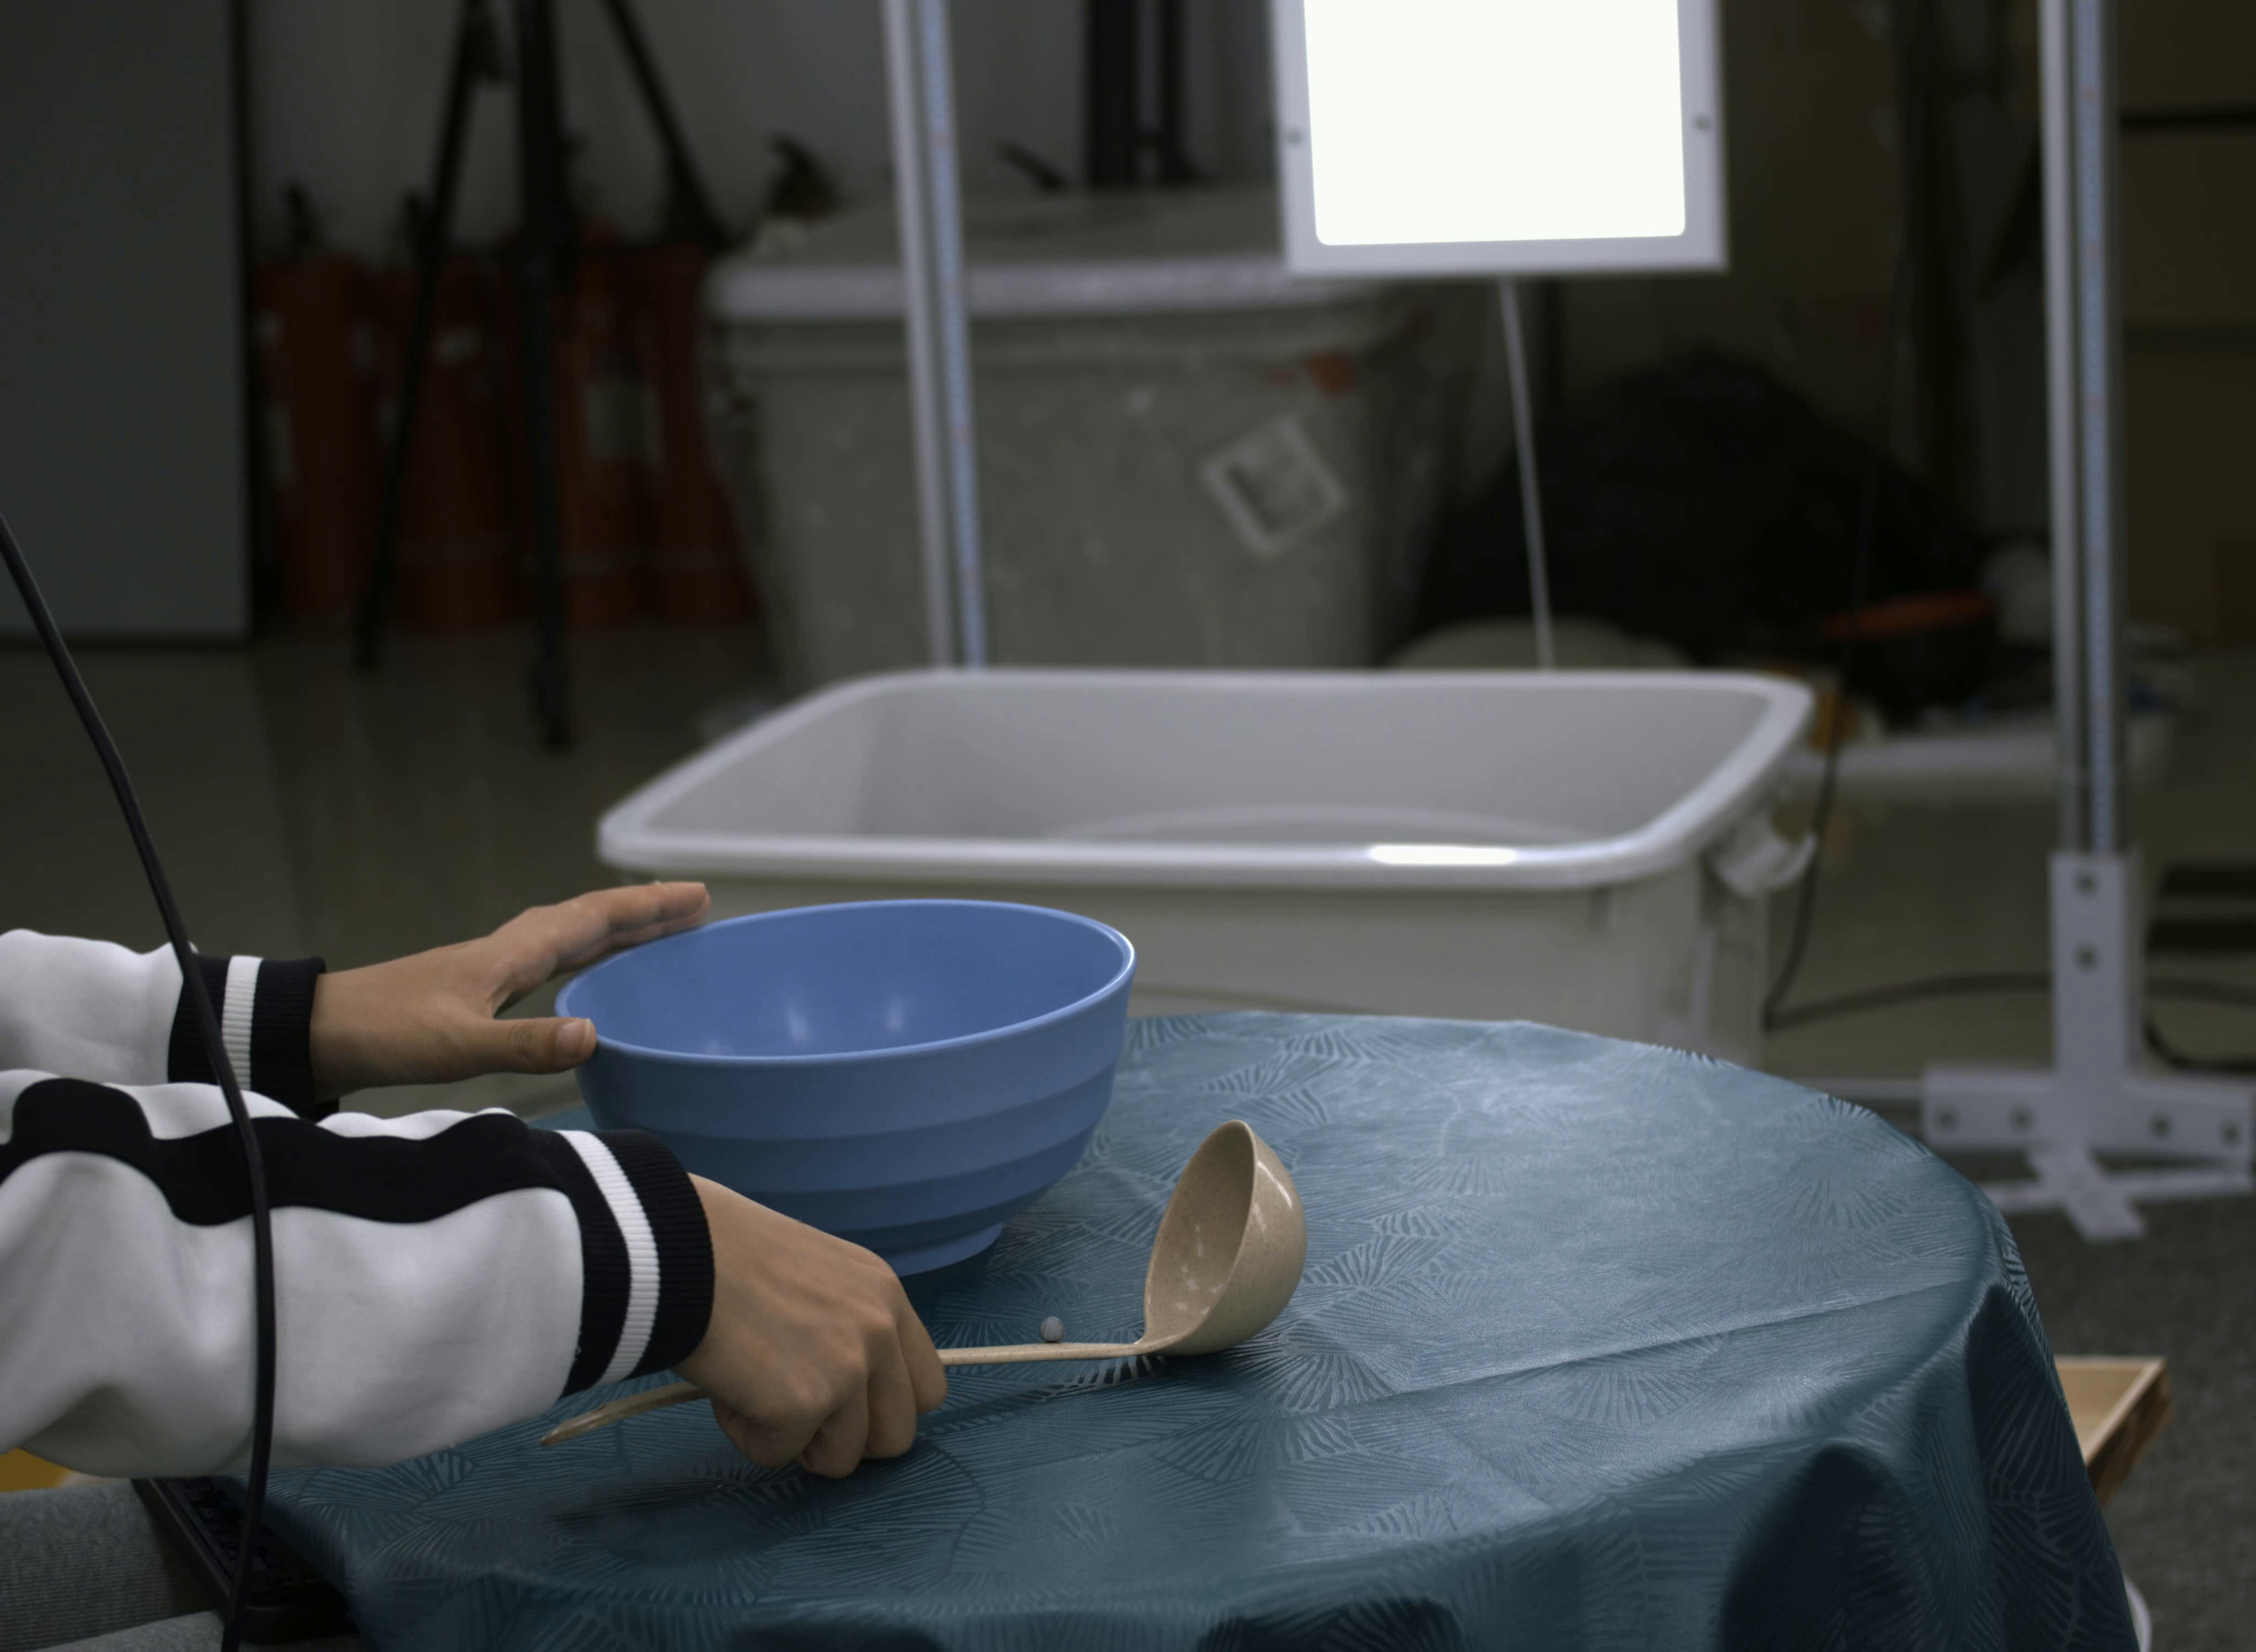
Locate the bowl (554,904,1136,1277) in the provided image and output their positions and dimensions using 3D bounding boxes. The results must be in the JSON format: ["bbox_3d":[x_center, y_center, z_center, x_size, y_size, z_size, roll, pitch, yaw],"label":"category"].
[{"bbox_3d":[-0.093,0.094,1.861,0.196,0.096,0.196,-3,12,-1],"label":"bowl"}]

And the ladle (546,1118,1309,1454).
[{"bbox_3d":[-0.063,0.138,1.687,0.249,0.073,0.073,-6,-4,-24],"label":"ladle"}]
